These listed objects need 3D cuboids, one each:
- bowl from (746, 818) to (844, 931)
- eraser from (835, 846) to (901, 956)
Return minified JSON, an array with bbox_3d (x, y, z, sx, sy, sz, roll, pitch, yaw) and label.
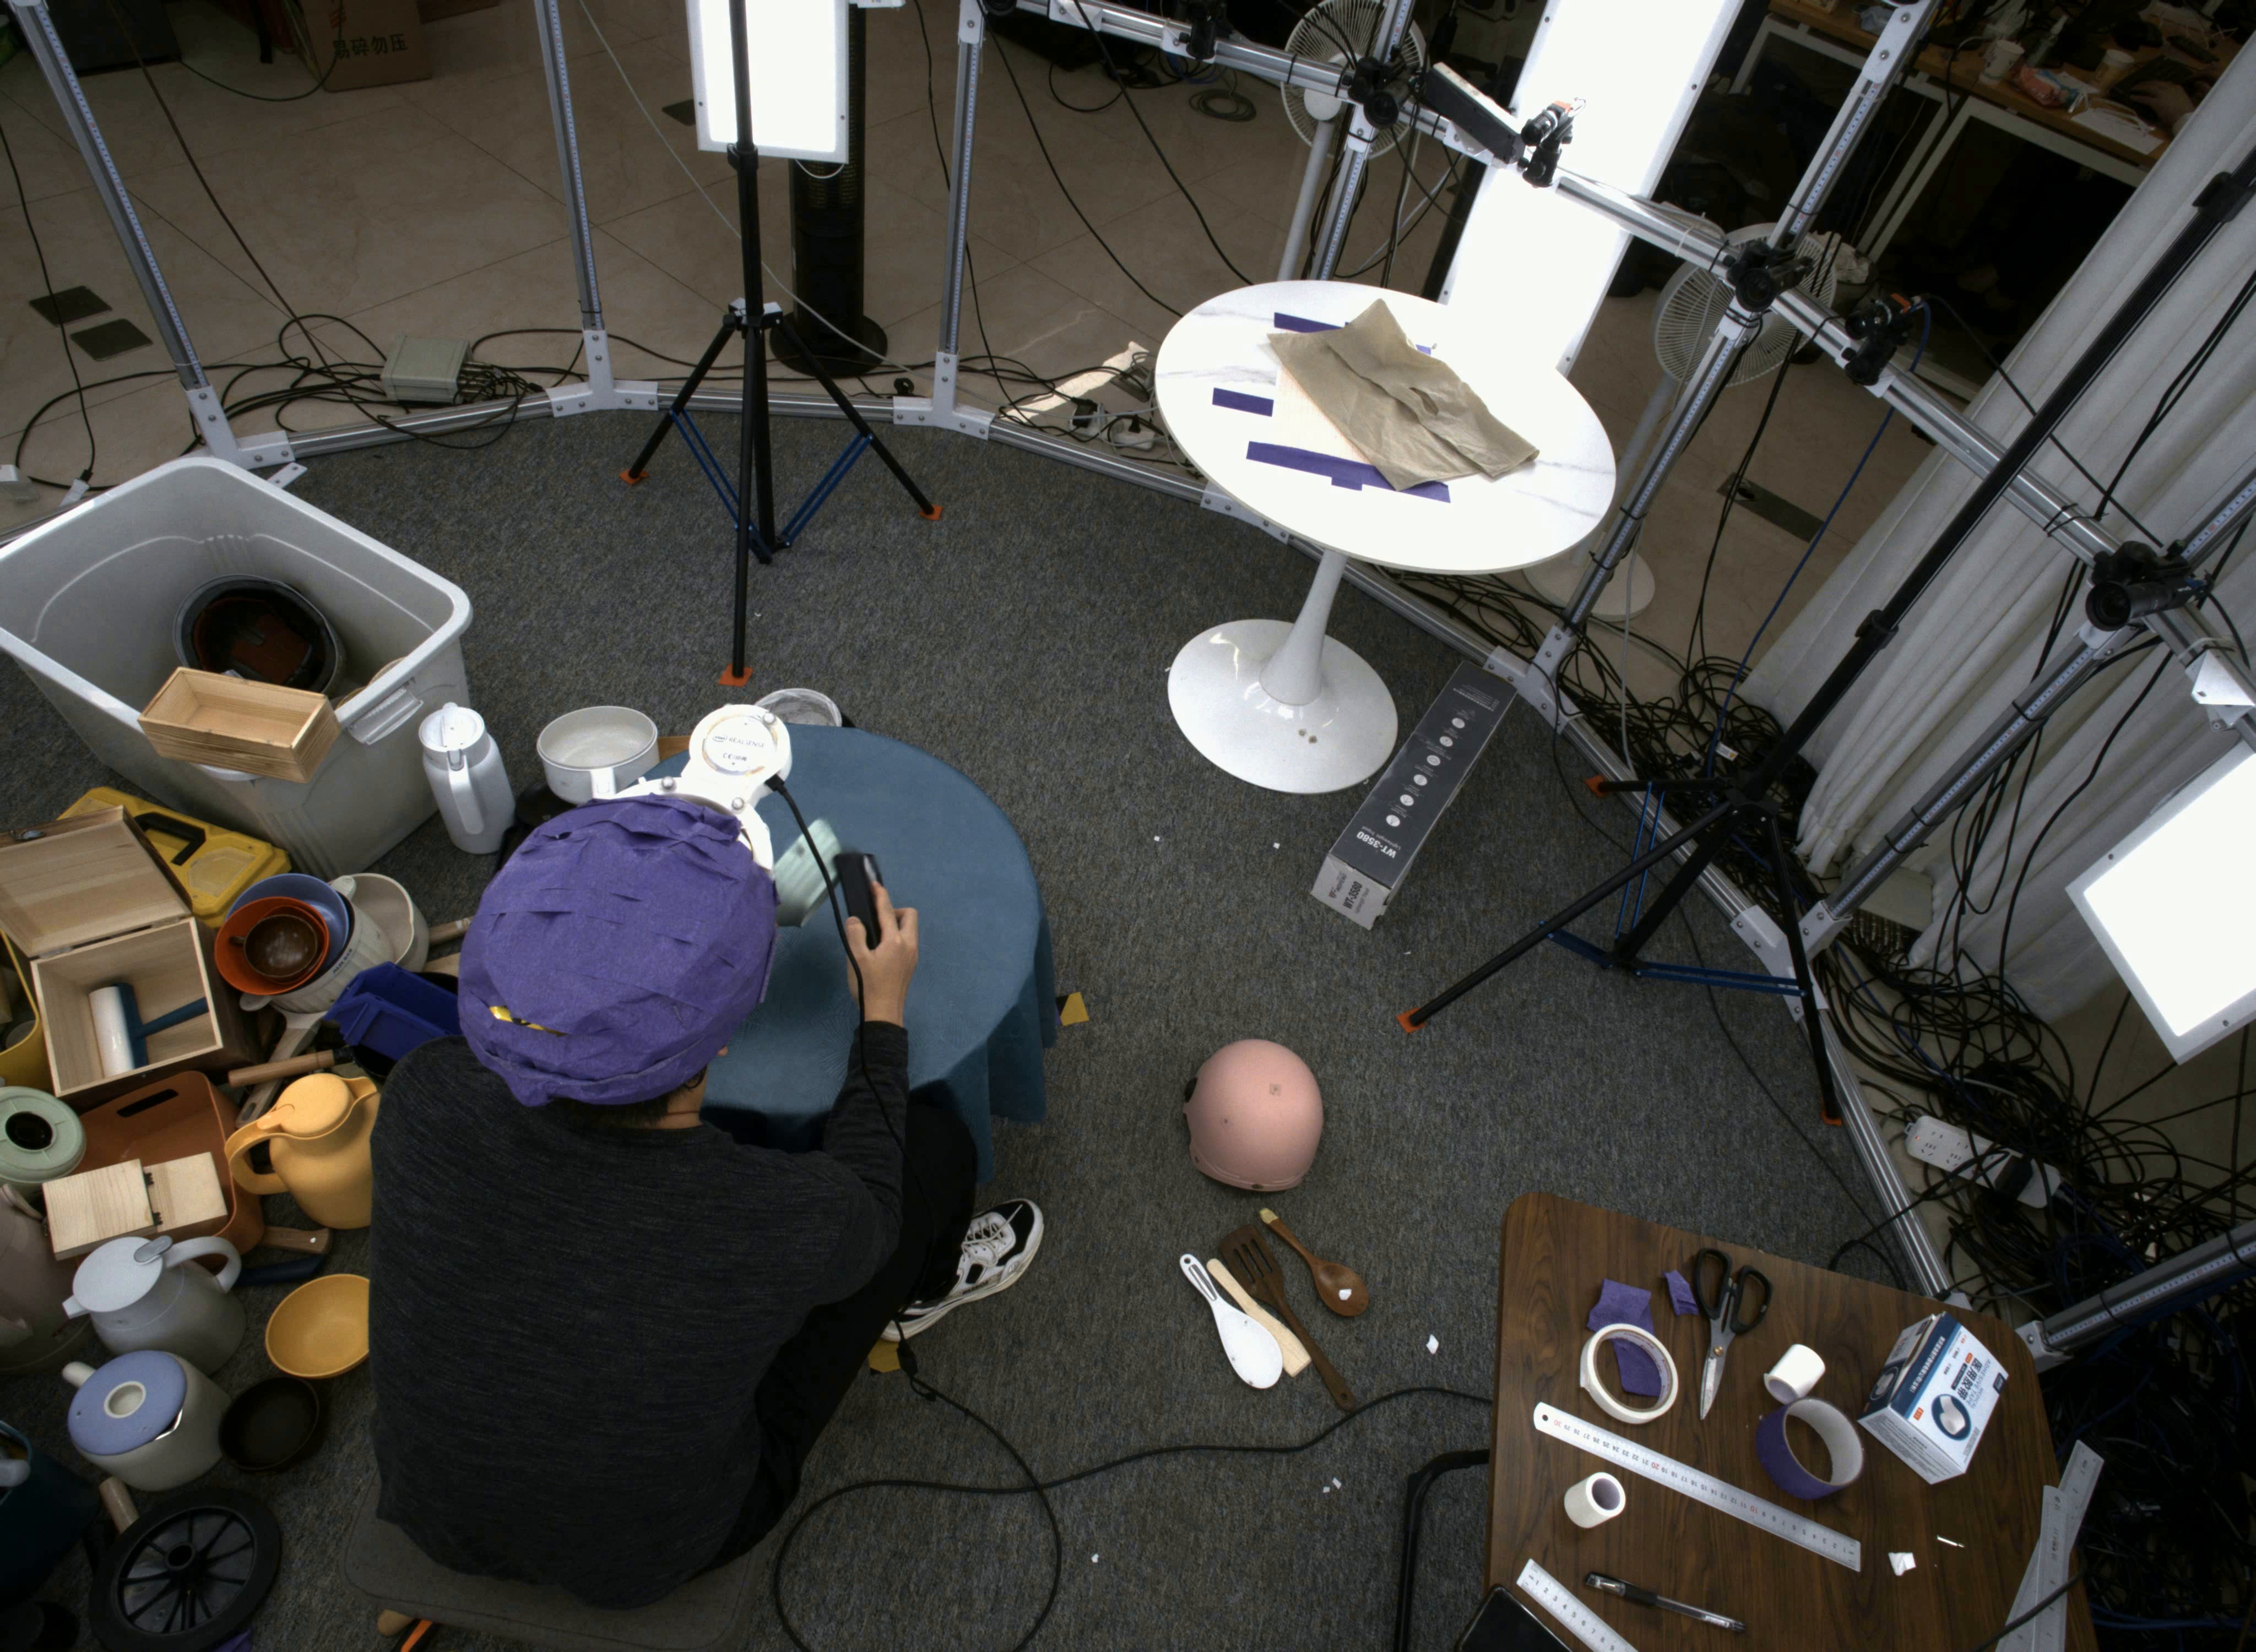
[{"bbox_3d":[-0.377,0.066,1.510,0.059,0.152,0.151,38,52,-1],"label":"bowl"},{"bbox_3d":[-0.299,0.085,1.494,0.030,0.054,0.125,-21,77,20],"label":"eraser"}]
